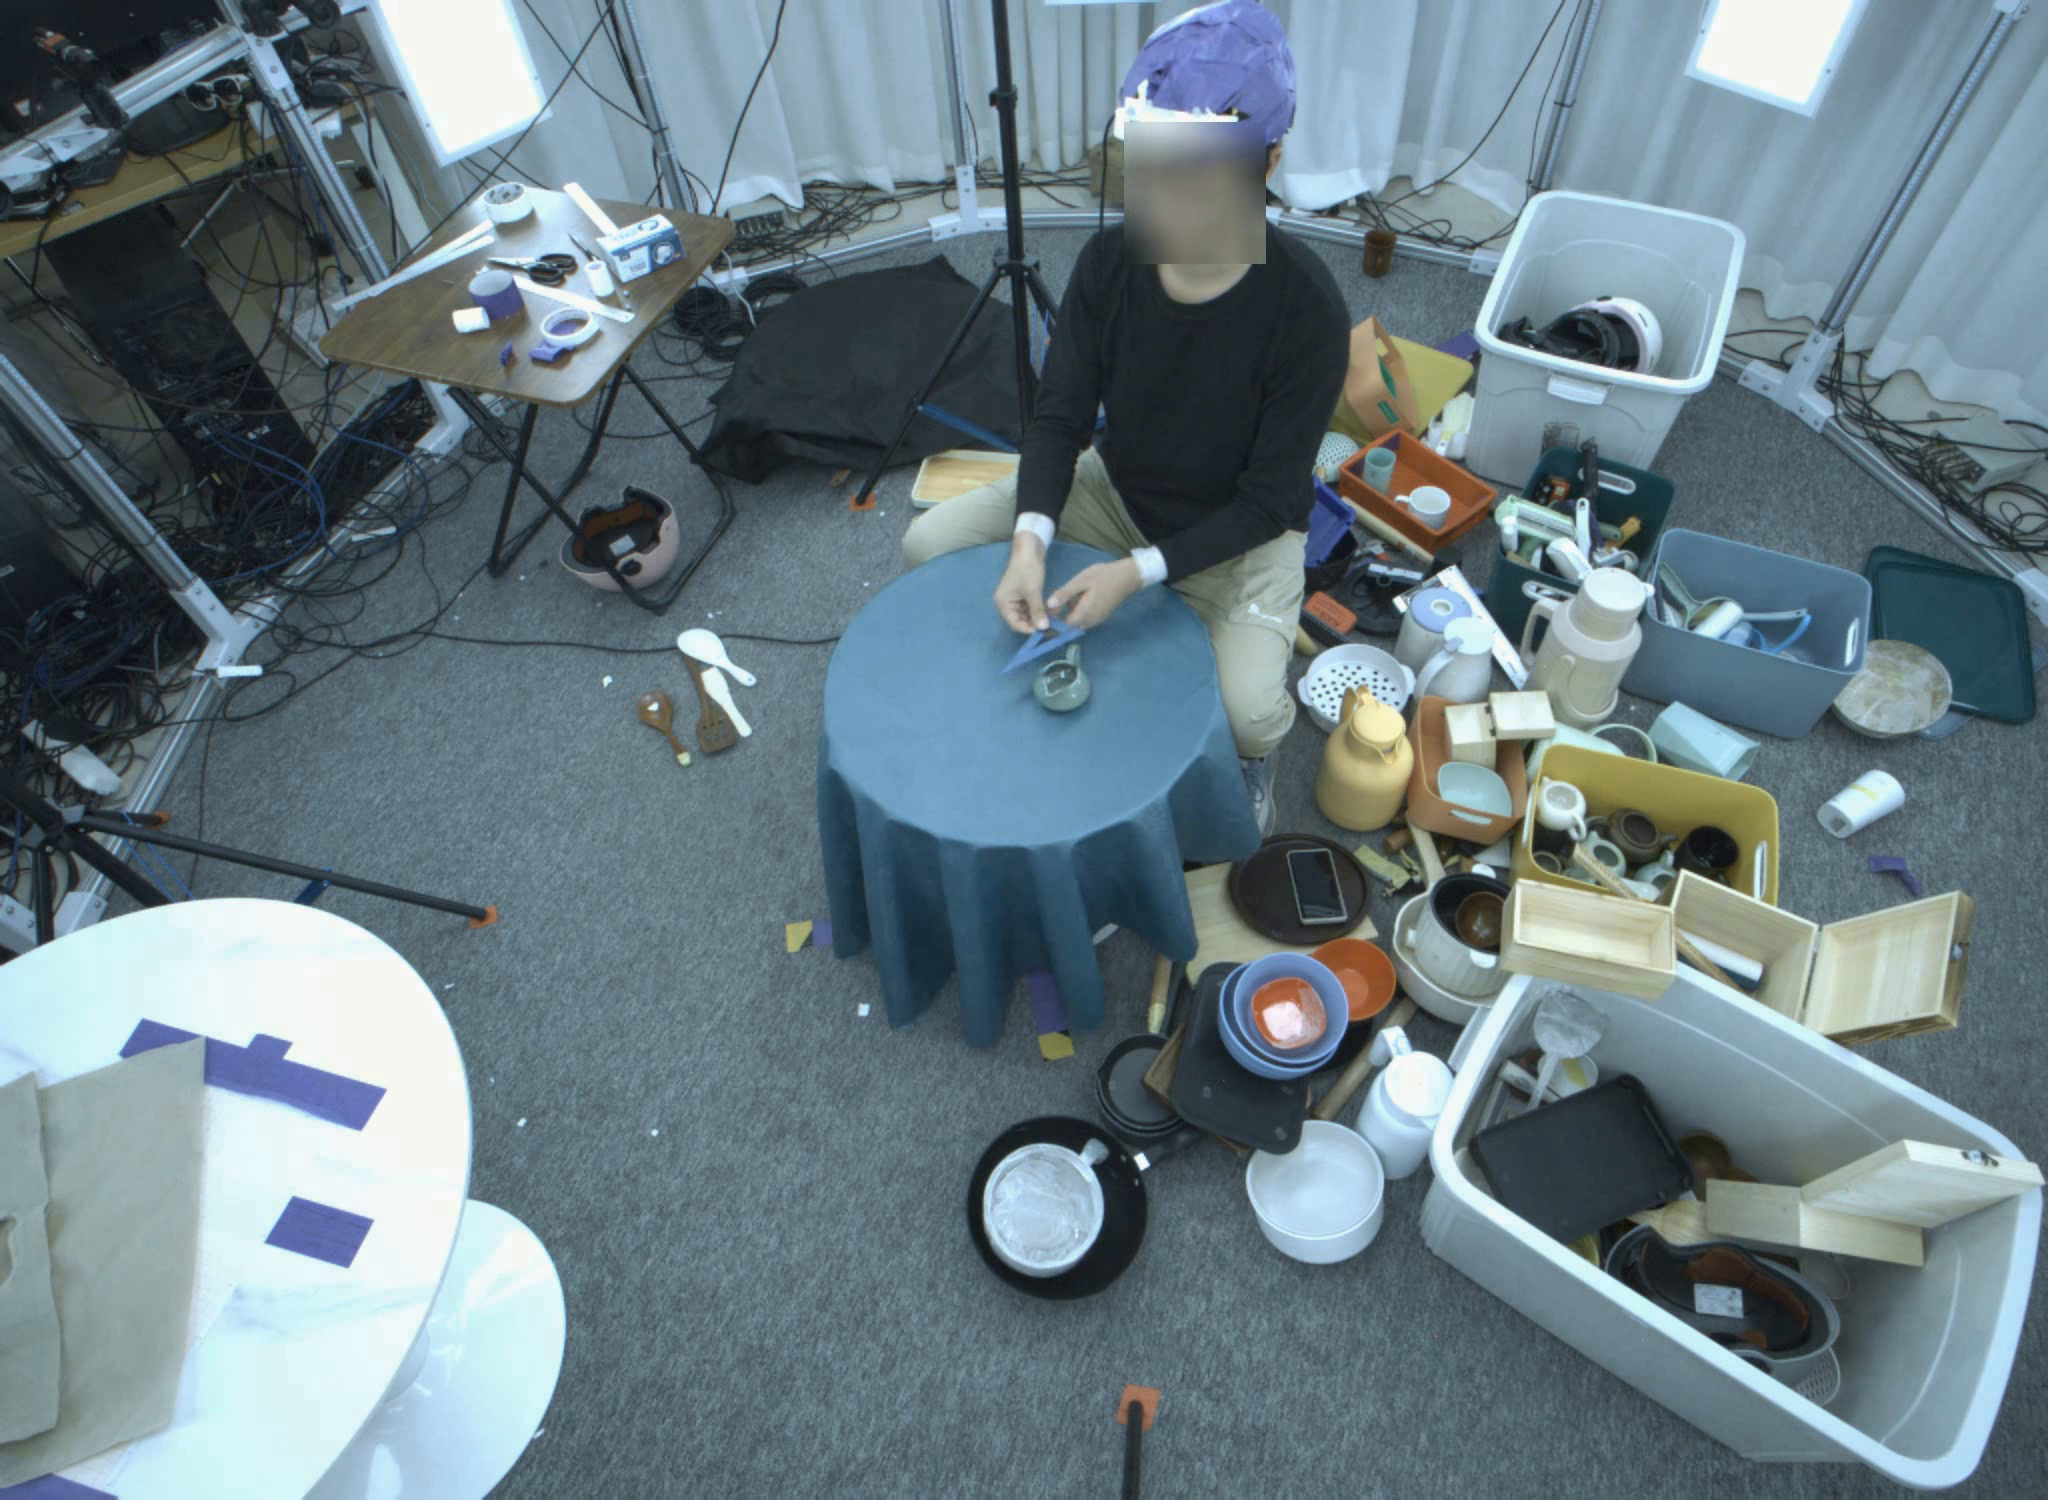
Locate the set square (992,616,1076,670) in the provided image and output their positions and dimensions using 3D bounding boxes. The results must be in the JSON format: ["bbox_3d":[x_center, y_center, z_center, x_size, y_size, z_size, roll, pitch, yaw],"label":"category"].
[{"bbox_3d":[0.007,-0.164,1.827,0.132,0.006,0.060,-23,58,2],"label":"set square"}]

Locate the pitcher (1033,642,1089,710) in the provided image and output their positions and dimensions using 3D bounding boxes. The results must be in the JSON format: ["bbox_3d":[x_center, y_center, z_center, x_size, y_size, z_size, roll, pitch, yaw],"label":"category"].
[{"bbox_3d":[0.057,-0.107,1.827,0.083,0.057,0.112,16,57,11],"label":"pitcher"}]
